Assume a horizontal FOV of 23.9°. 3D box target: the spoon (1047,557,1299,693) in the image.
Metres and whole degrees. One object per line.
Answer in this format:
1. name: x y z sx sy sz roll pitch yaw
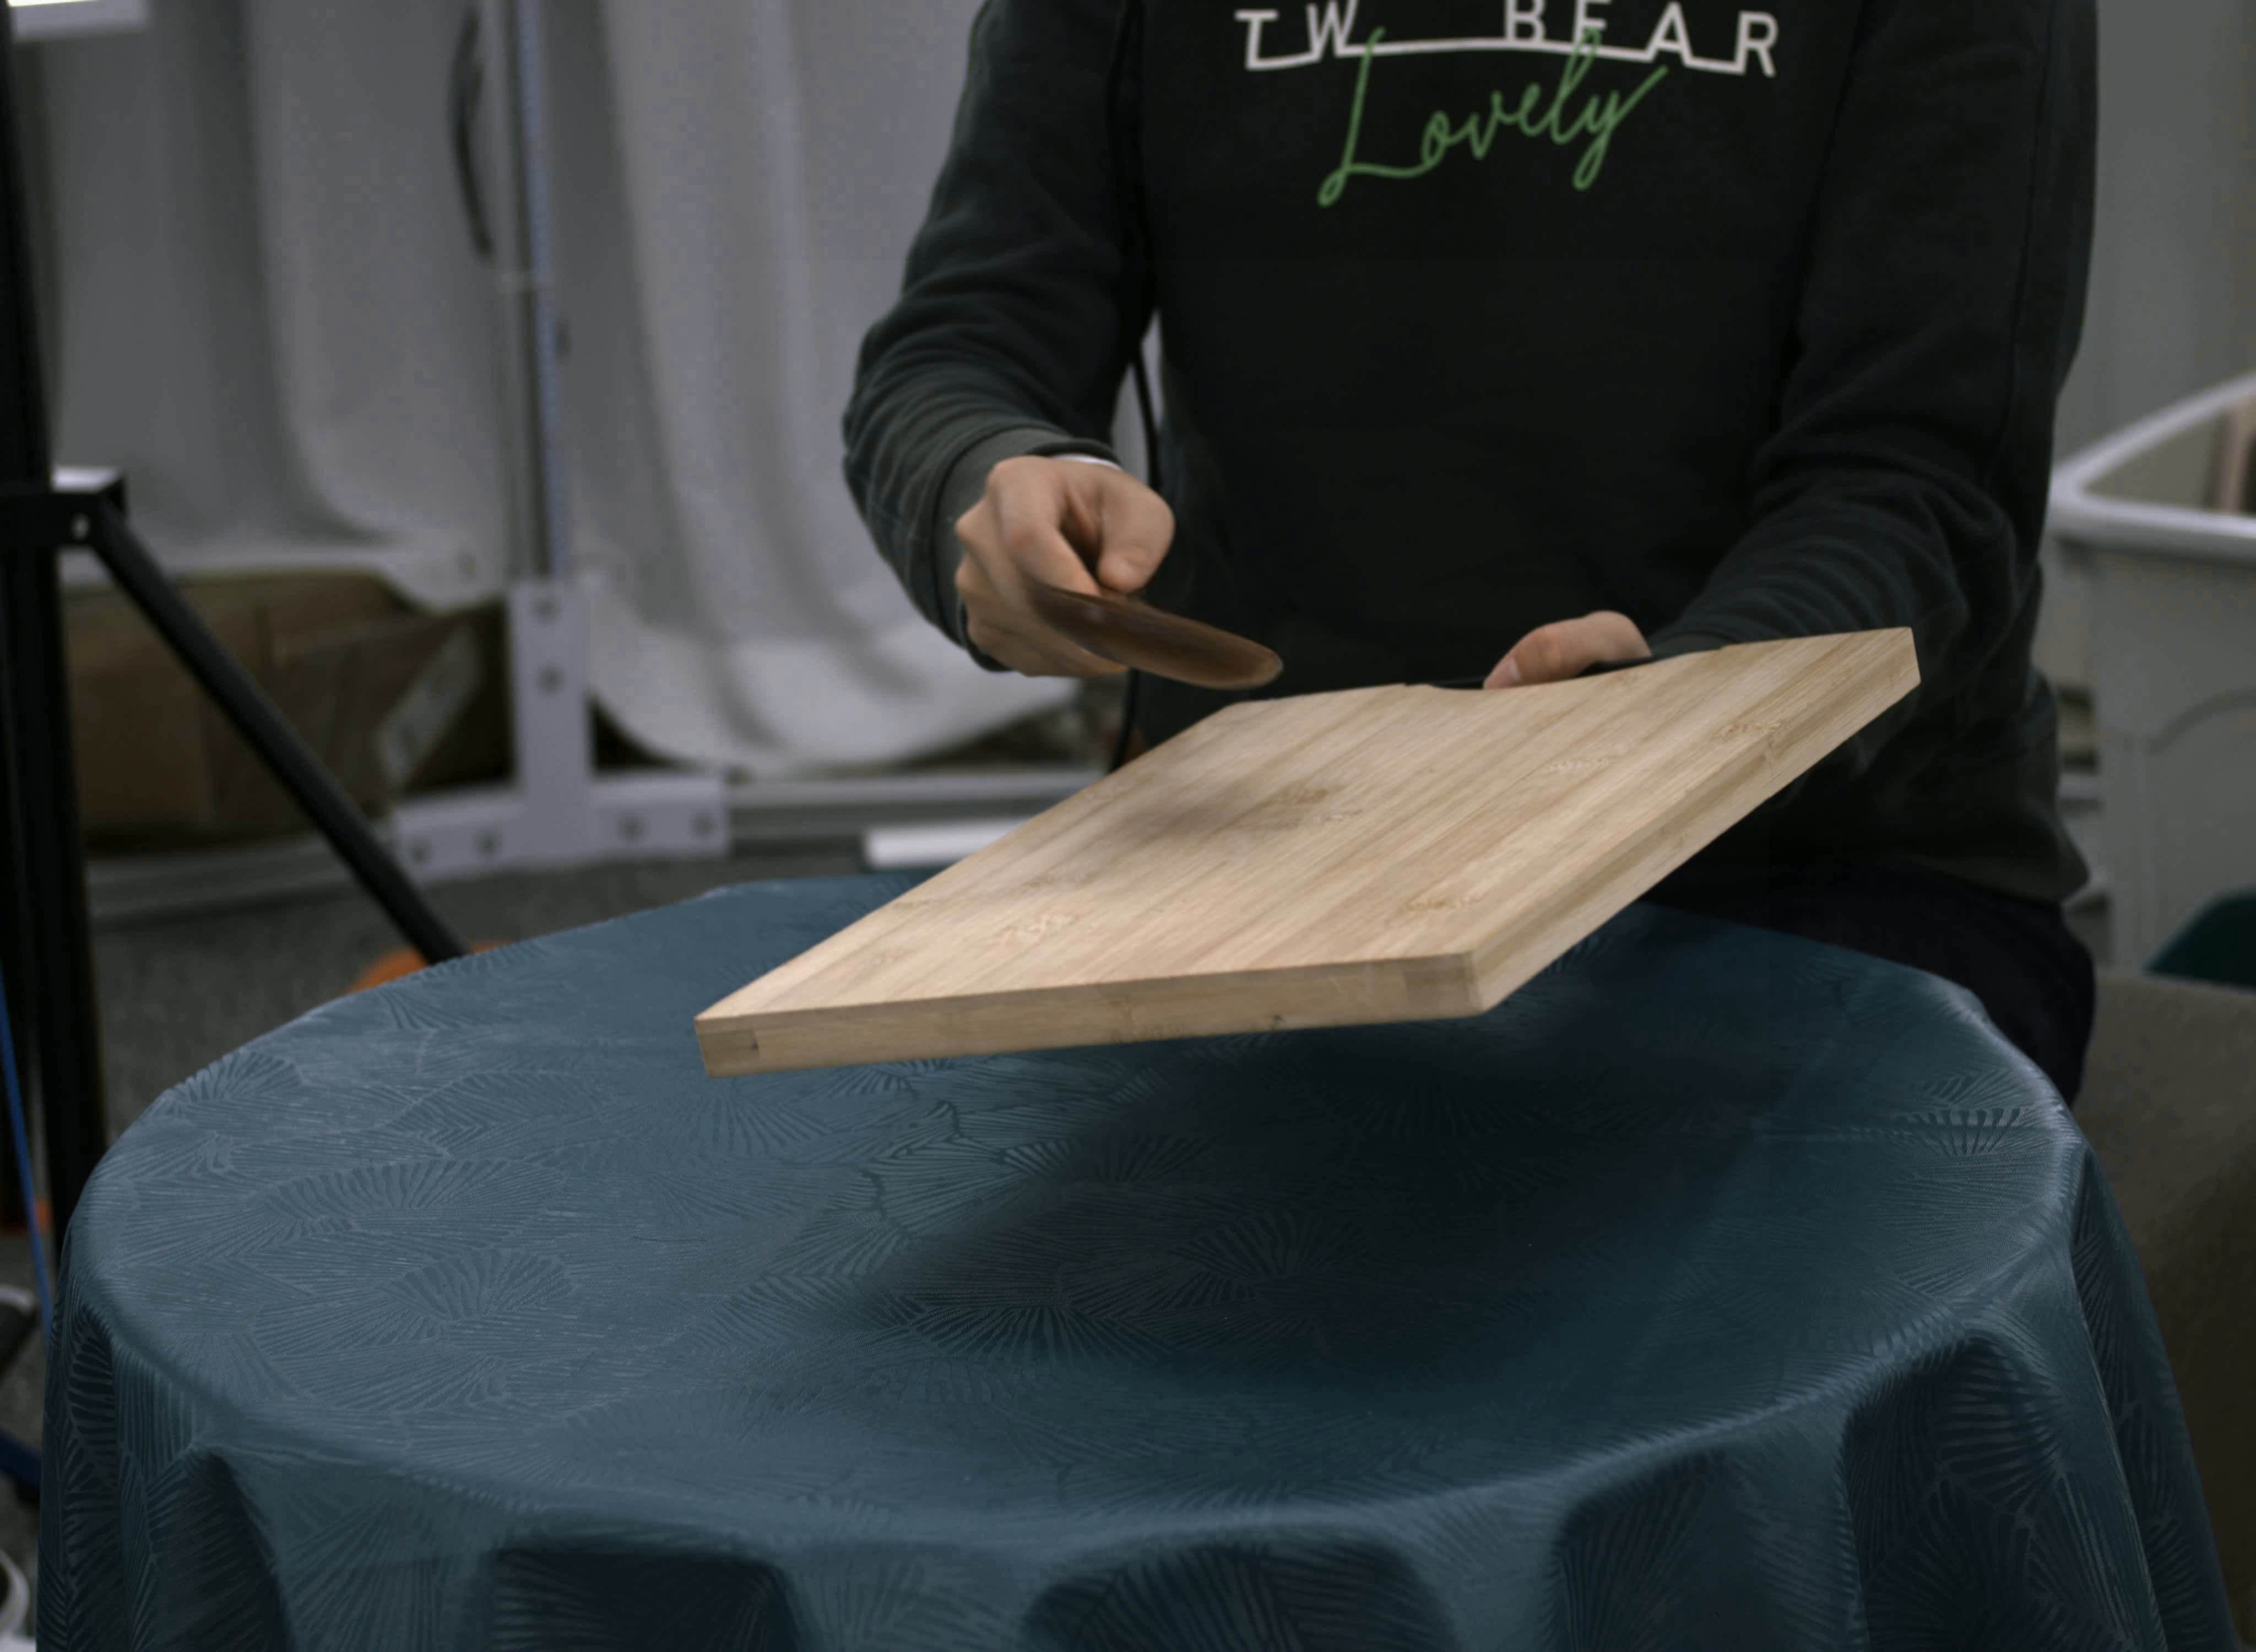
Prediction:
1. spoon: 0.003 -0.061 1.618 0.074 0.017 0.217 13 7 -10

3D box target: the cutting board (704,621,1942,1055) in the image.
1. cutting board: 0.065 0.003 1.542 0.255 0.023 0.343 -5 13 29
